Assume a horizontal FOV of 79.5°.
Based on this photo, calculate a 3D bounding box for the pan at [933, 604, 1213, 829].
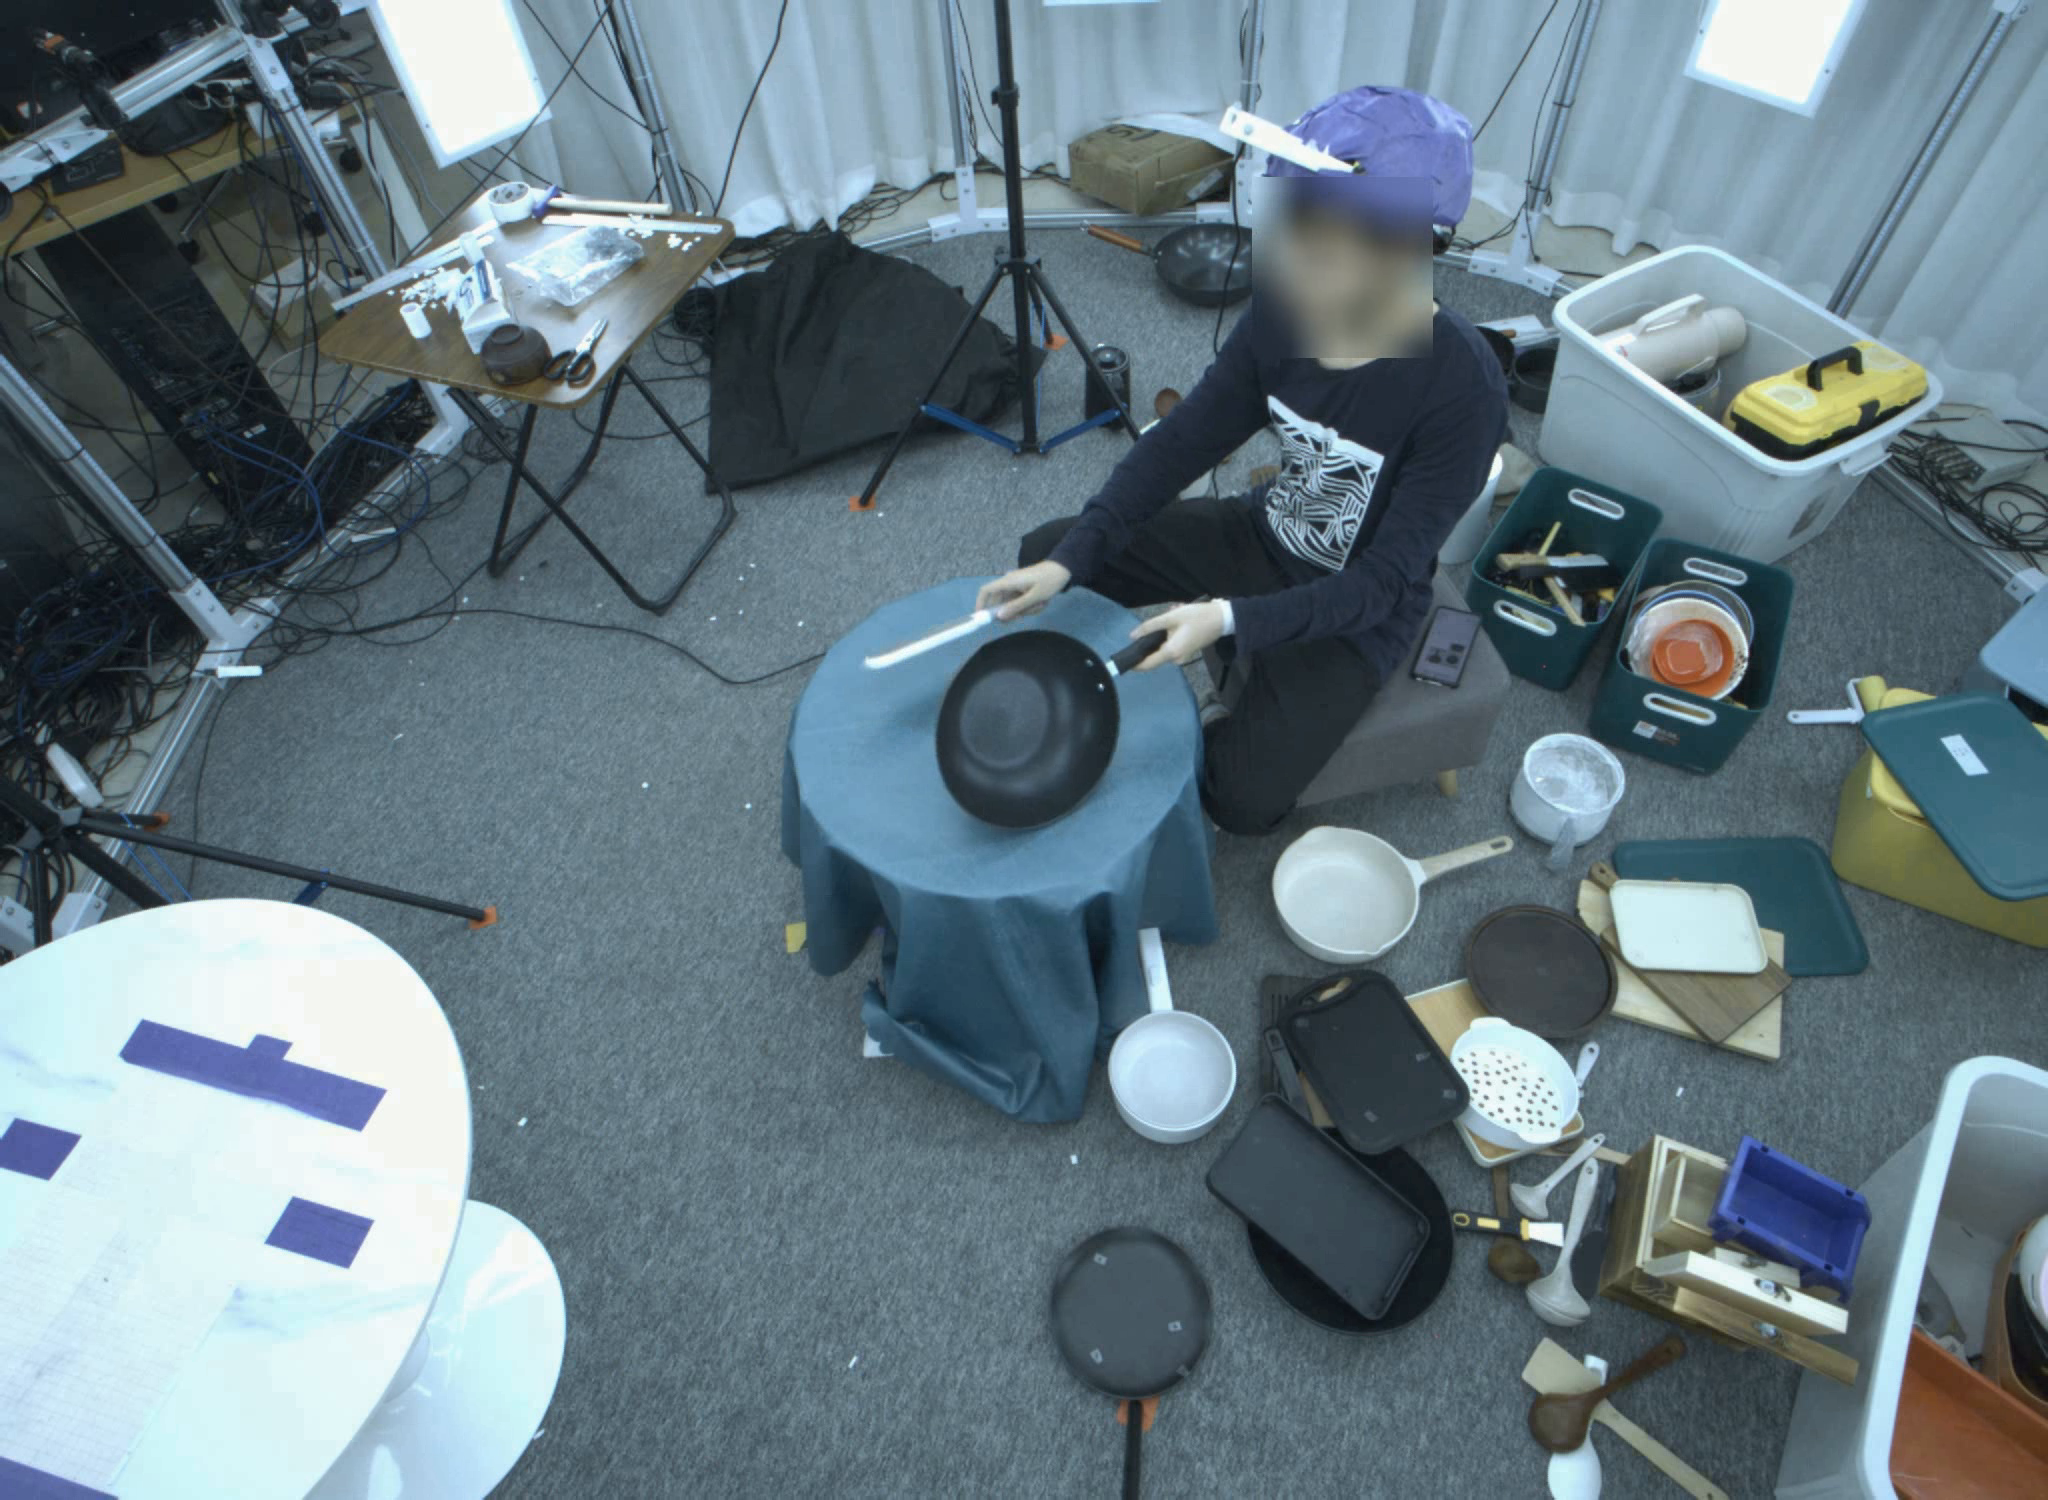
[{"bbox_3d":[0.063,-0.087,1.709,0.466,0.293,0.085,-35,31,-15],"label":"pan"}]

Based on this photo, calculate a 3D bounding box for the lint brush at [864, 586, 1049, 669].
[{"bbox_3d":[-0.096,-0.183,1.819,0.312,0.021,0.059,-25,17,-21],"label":"lint brush"}]
